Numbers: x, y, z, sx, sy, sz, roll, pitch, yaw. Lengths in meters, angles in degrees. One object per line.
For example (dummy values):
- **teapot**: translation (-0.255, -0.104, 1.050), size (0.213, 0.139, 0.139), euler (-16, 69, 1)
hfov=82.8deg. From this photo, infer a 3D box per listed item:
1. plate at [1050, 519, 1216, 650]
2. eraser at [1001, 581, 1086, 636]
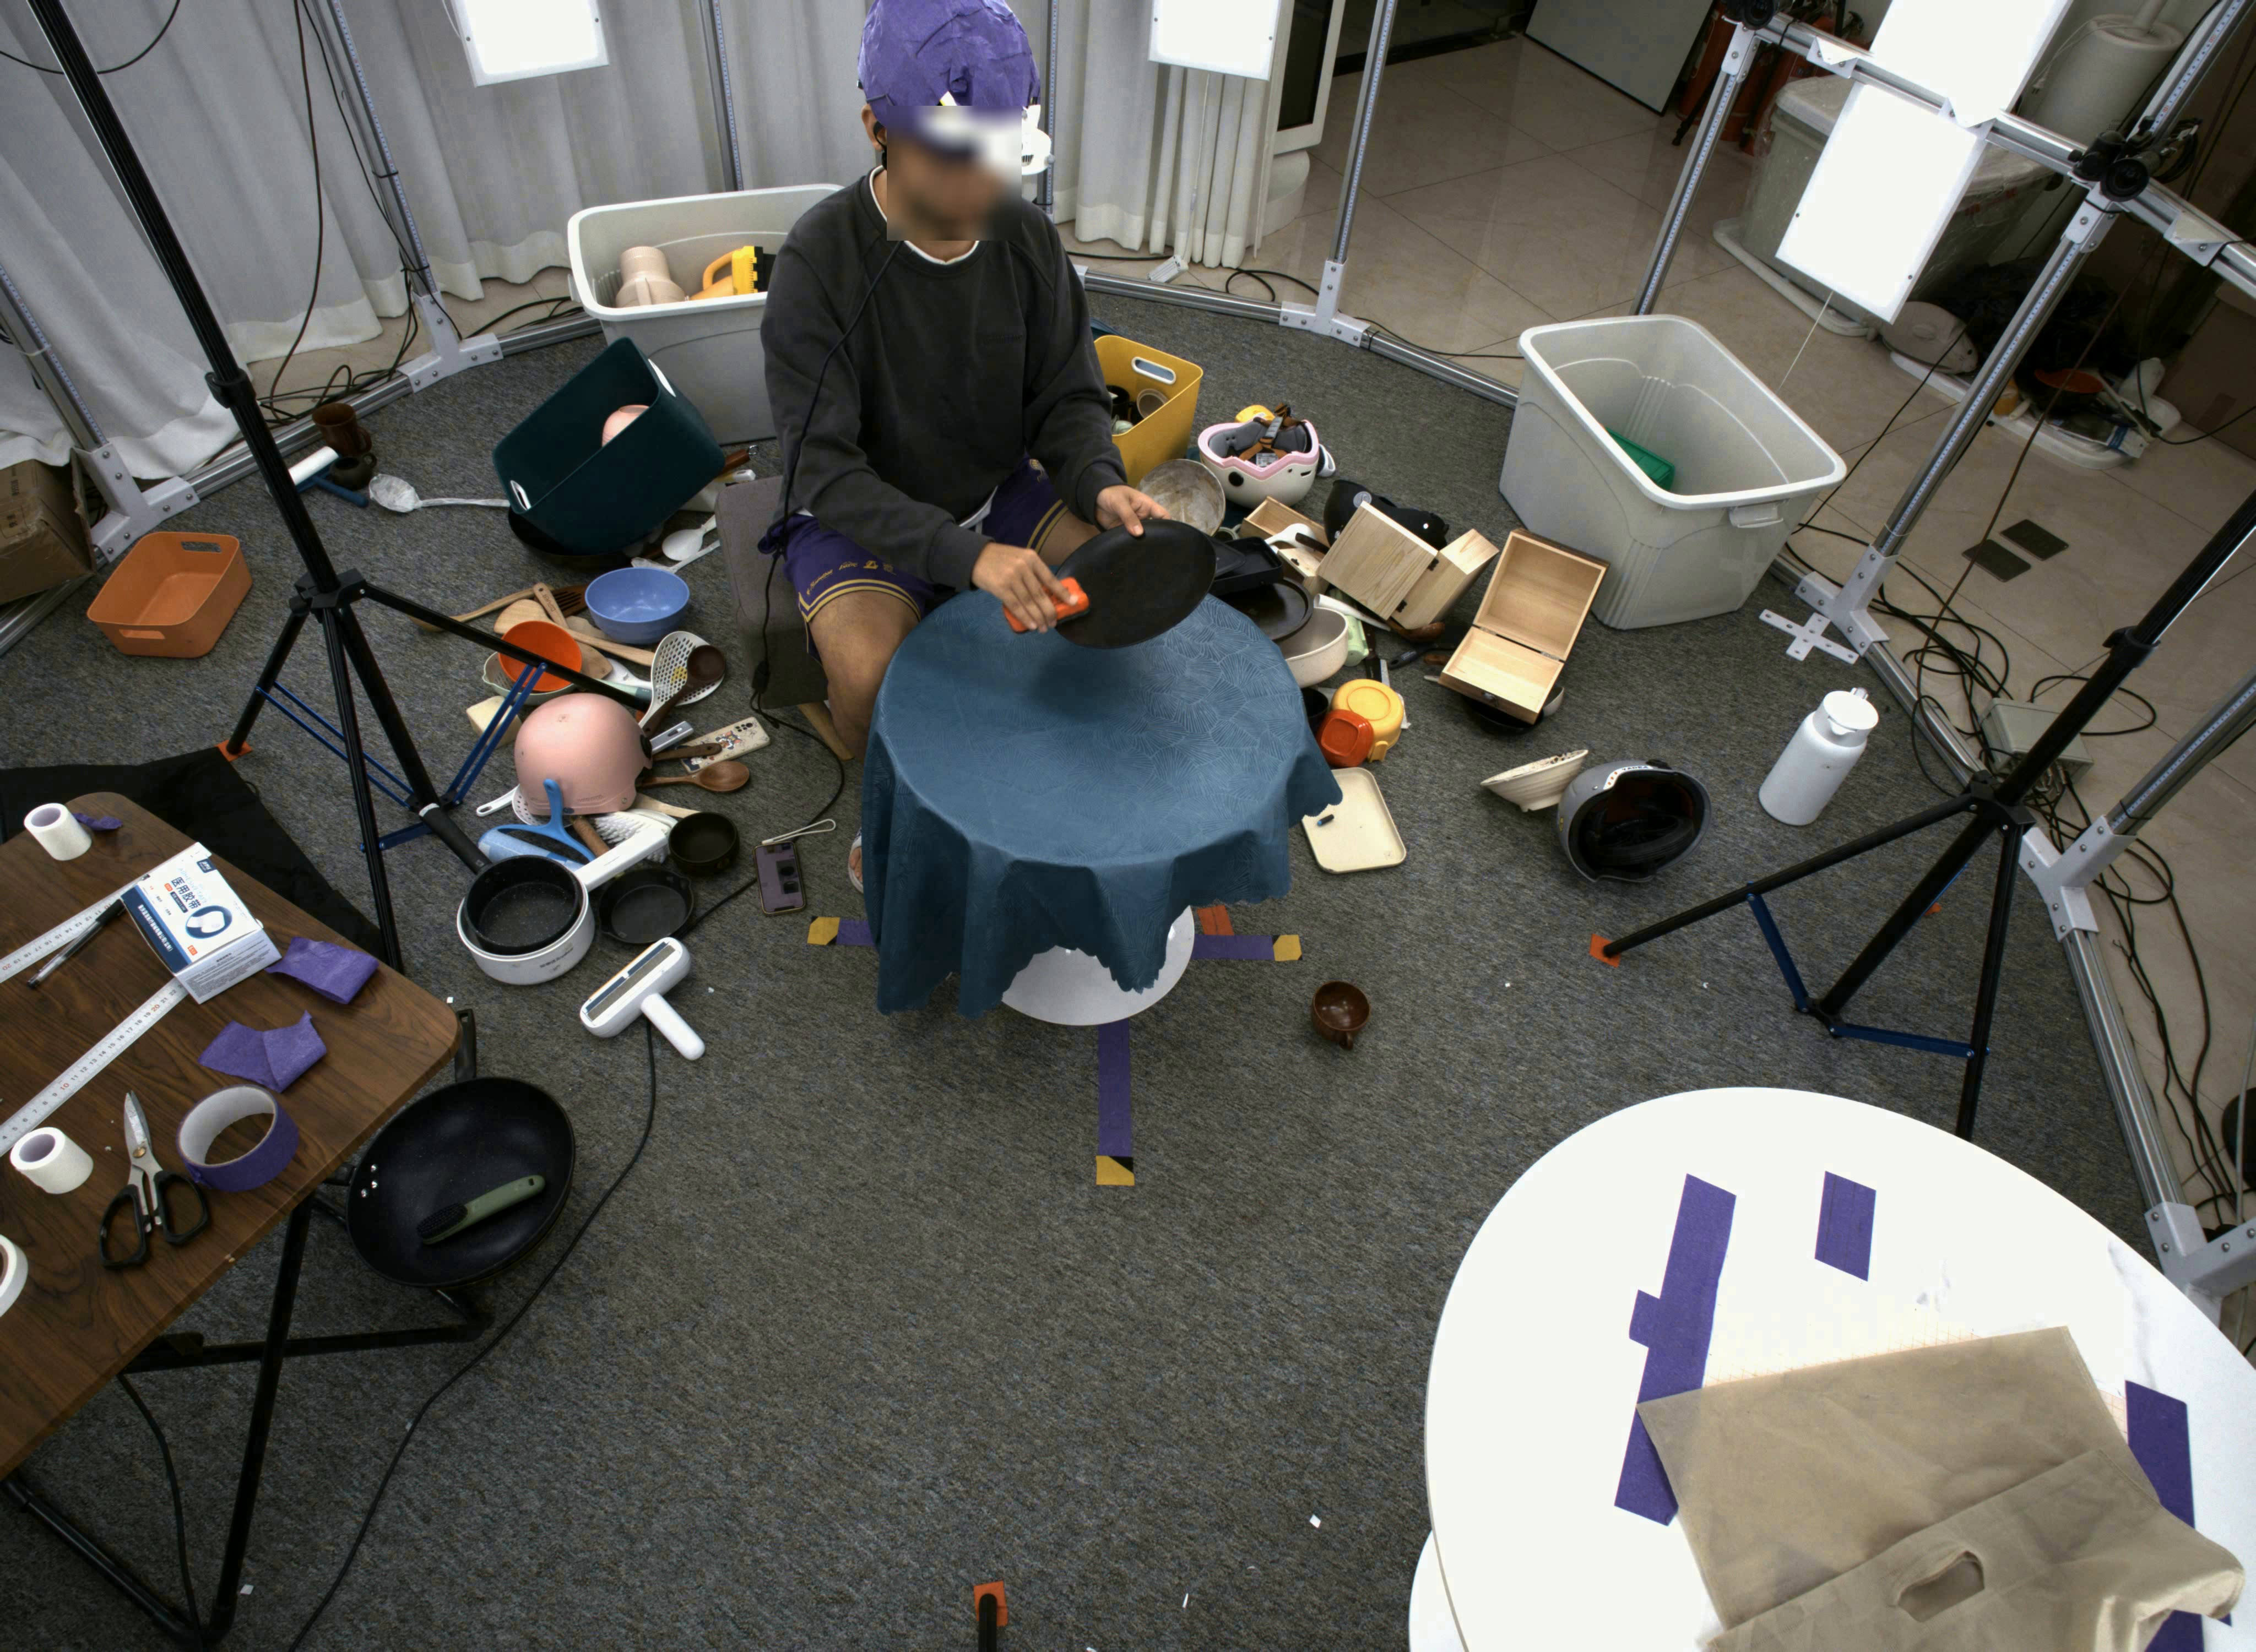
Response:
- **plate**: translation (0.005, -0.327, 1.757), size (0.244, 0.023, 0.250), euler (-12, 50, 14)
- **eraser**: translation (-0.114, -0.297, 1.749), size (0.108, 0.022, 0.060), euler (-19, 50, -14)
